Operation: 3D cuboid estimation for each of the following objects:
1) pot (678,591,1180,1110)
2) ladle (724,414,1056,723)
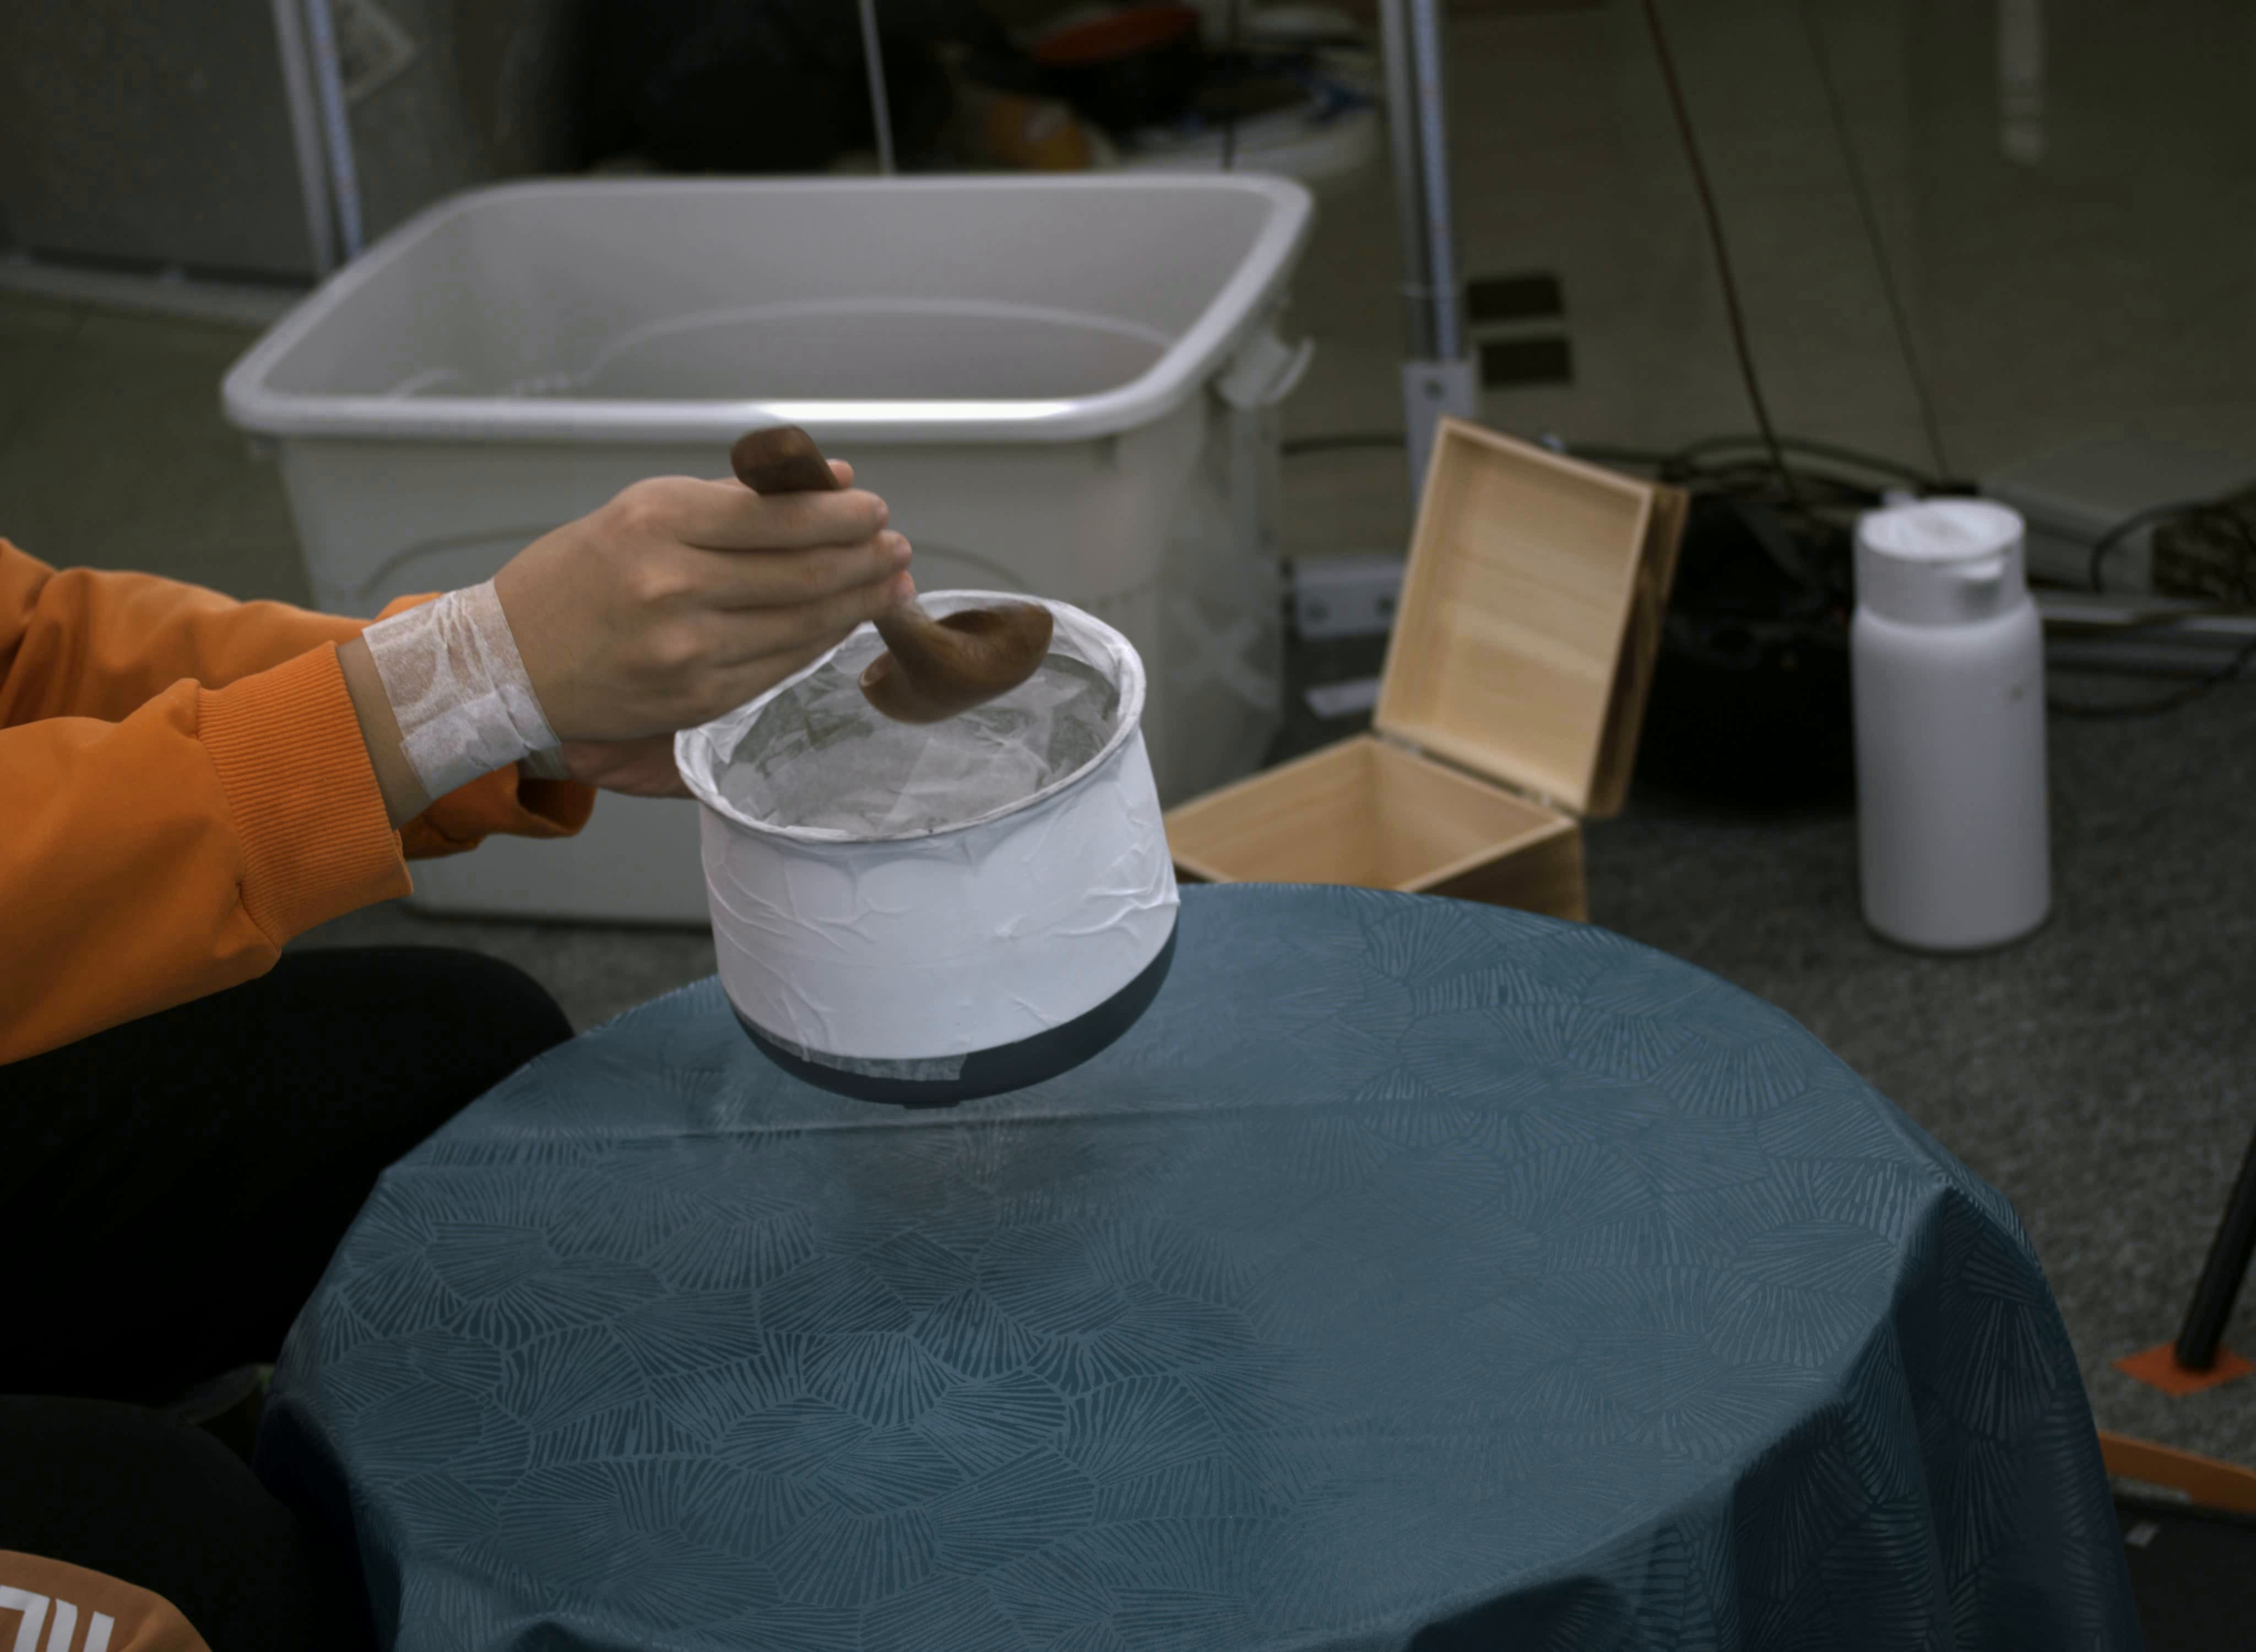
[{"bbox_3d":[-0.089,0.001,2.145,0.177,0.139,0.231,-28,38,-29],"label":"pot"},{"bbox_3d":[-0.092,-0.100,1.959,0.076,0.263,0.064,-30,62,6],"label":"ladle"}]
